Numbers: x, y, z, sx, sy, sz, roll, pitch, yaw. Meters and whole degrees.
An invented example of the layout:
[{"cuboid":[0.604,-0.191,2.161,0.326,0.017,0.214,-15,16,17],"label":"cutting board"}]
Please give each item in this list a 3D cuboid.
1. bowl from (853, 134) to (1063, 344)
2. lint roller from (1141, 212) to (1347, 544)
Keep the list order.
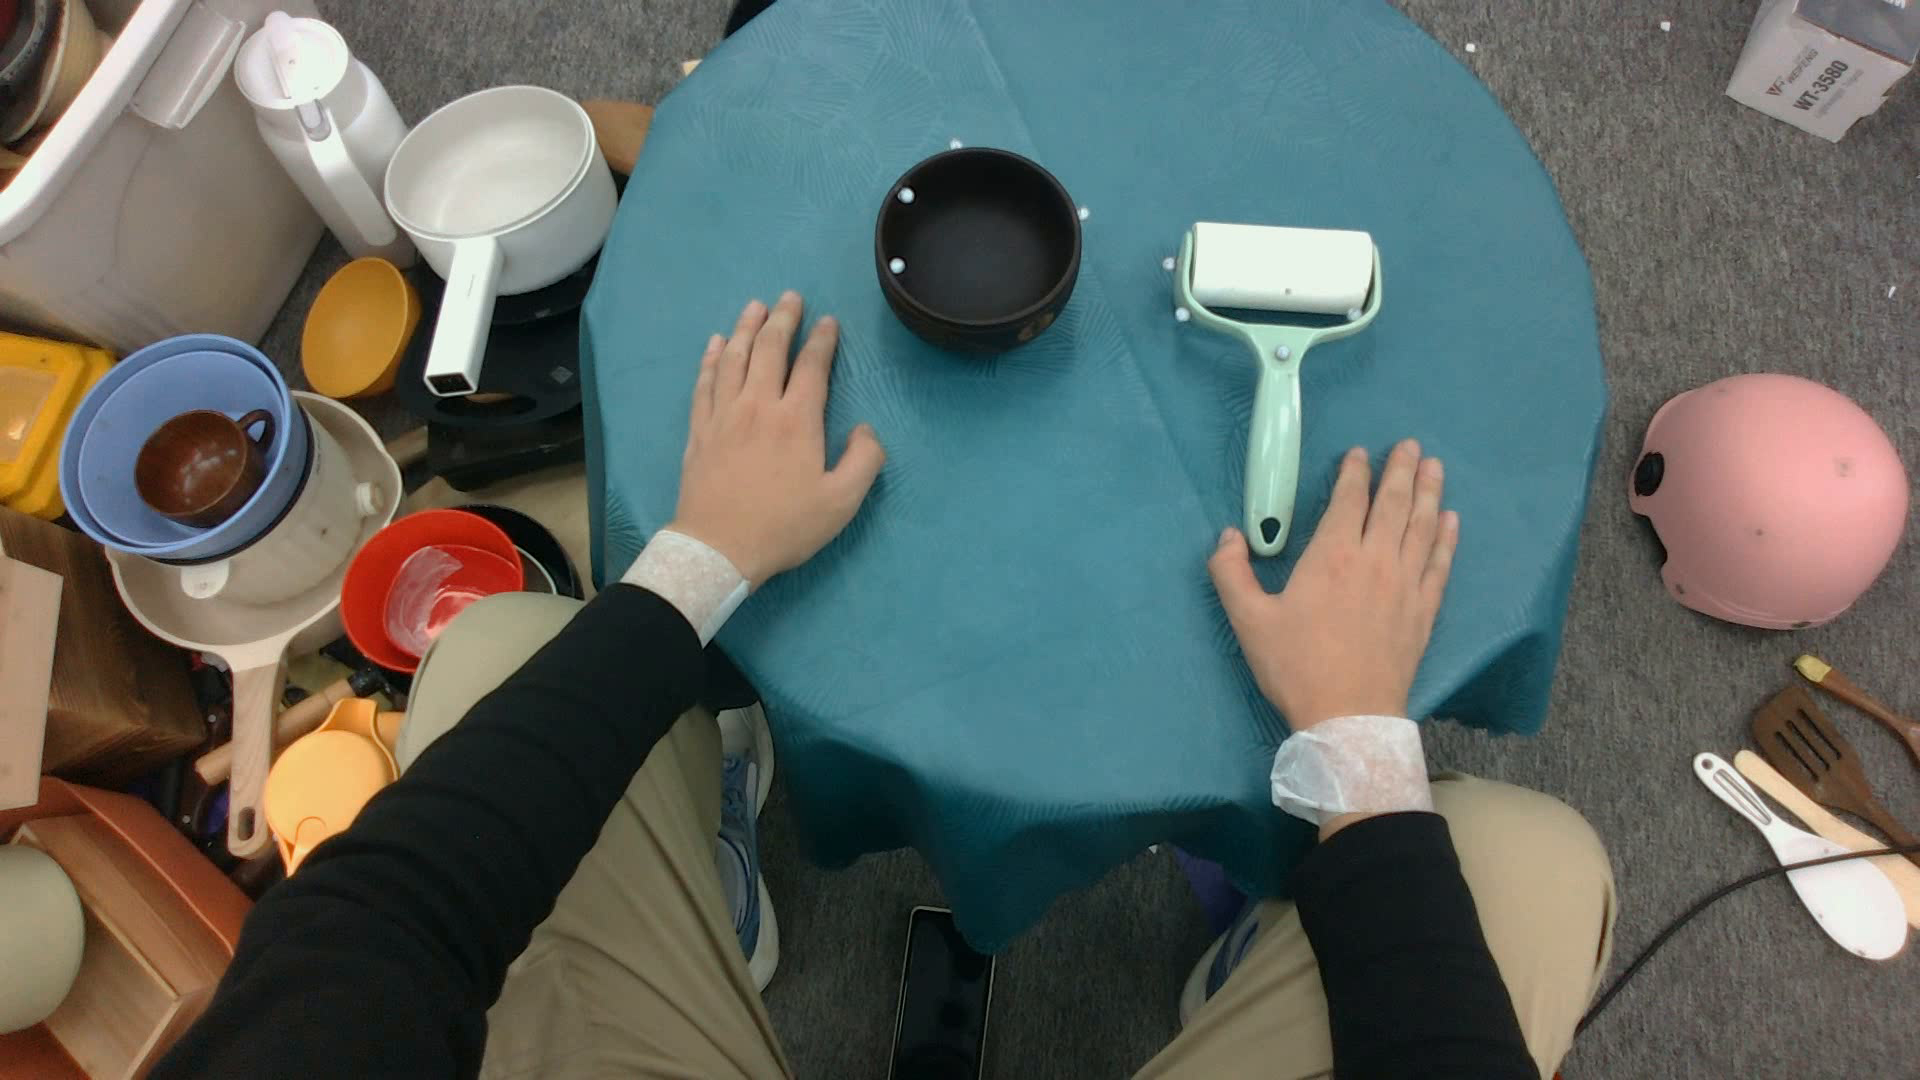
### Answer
[{"cuboid":[-0.002,-0.165,0.792,0.118,0.069,0.118,1,72,-2],"label":"bowl"},{"cuboid":[0.161,-0.097,0.788,0.116,0.048,0.198,4,72,-1],"label":"lint roller"}]
